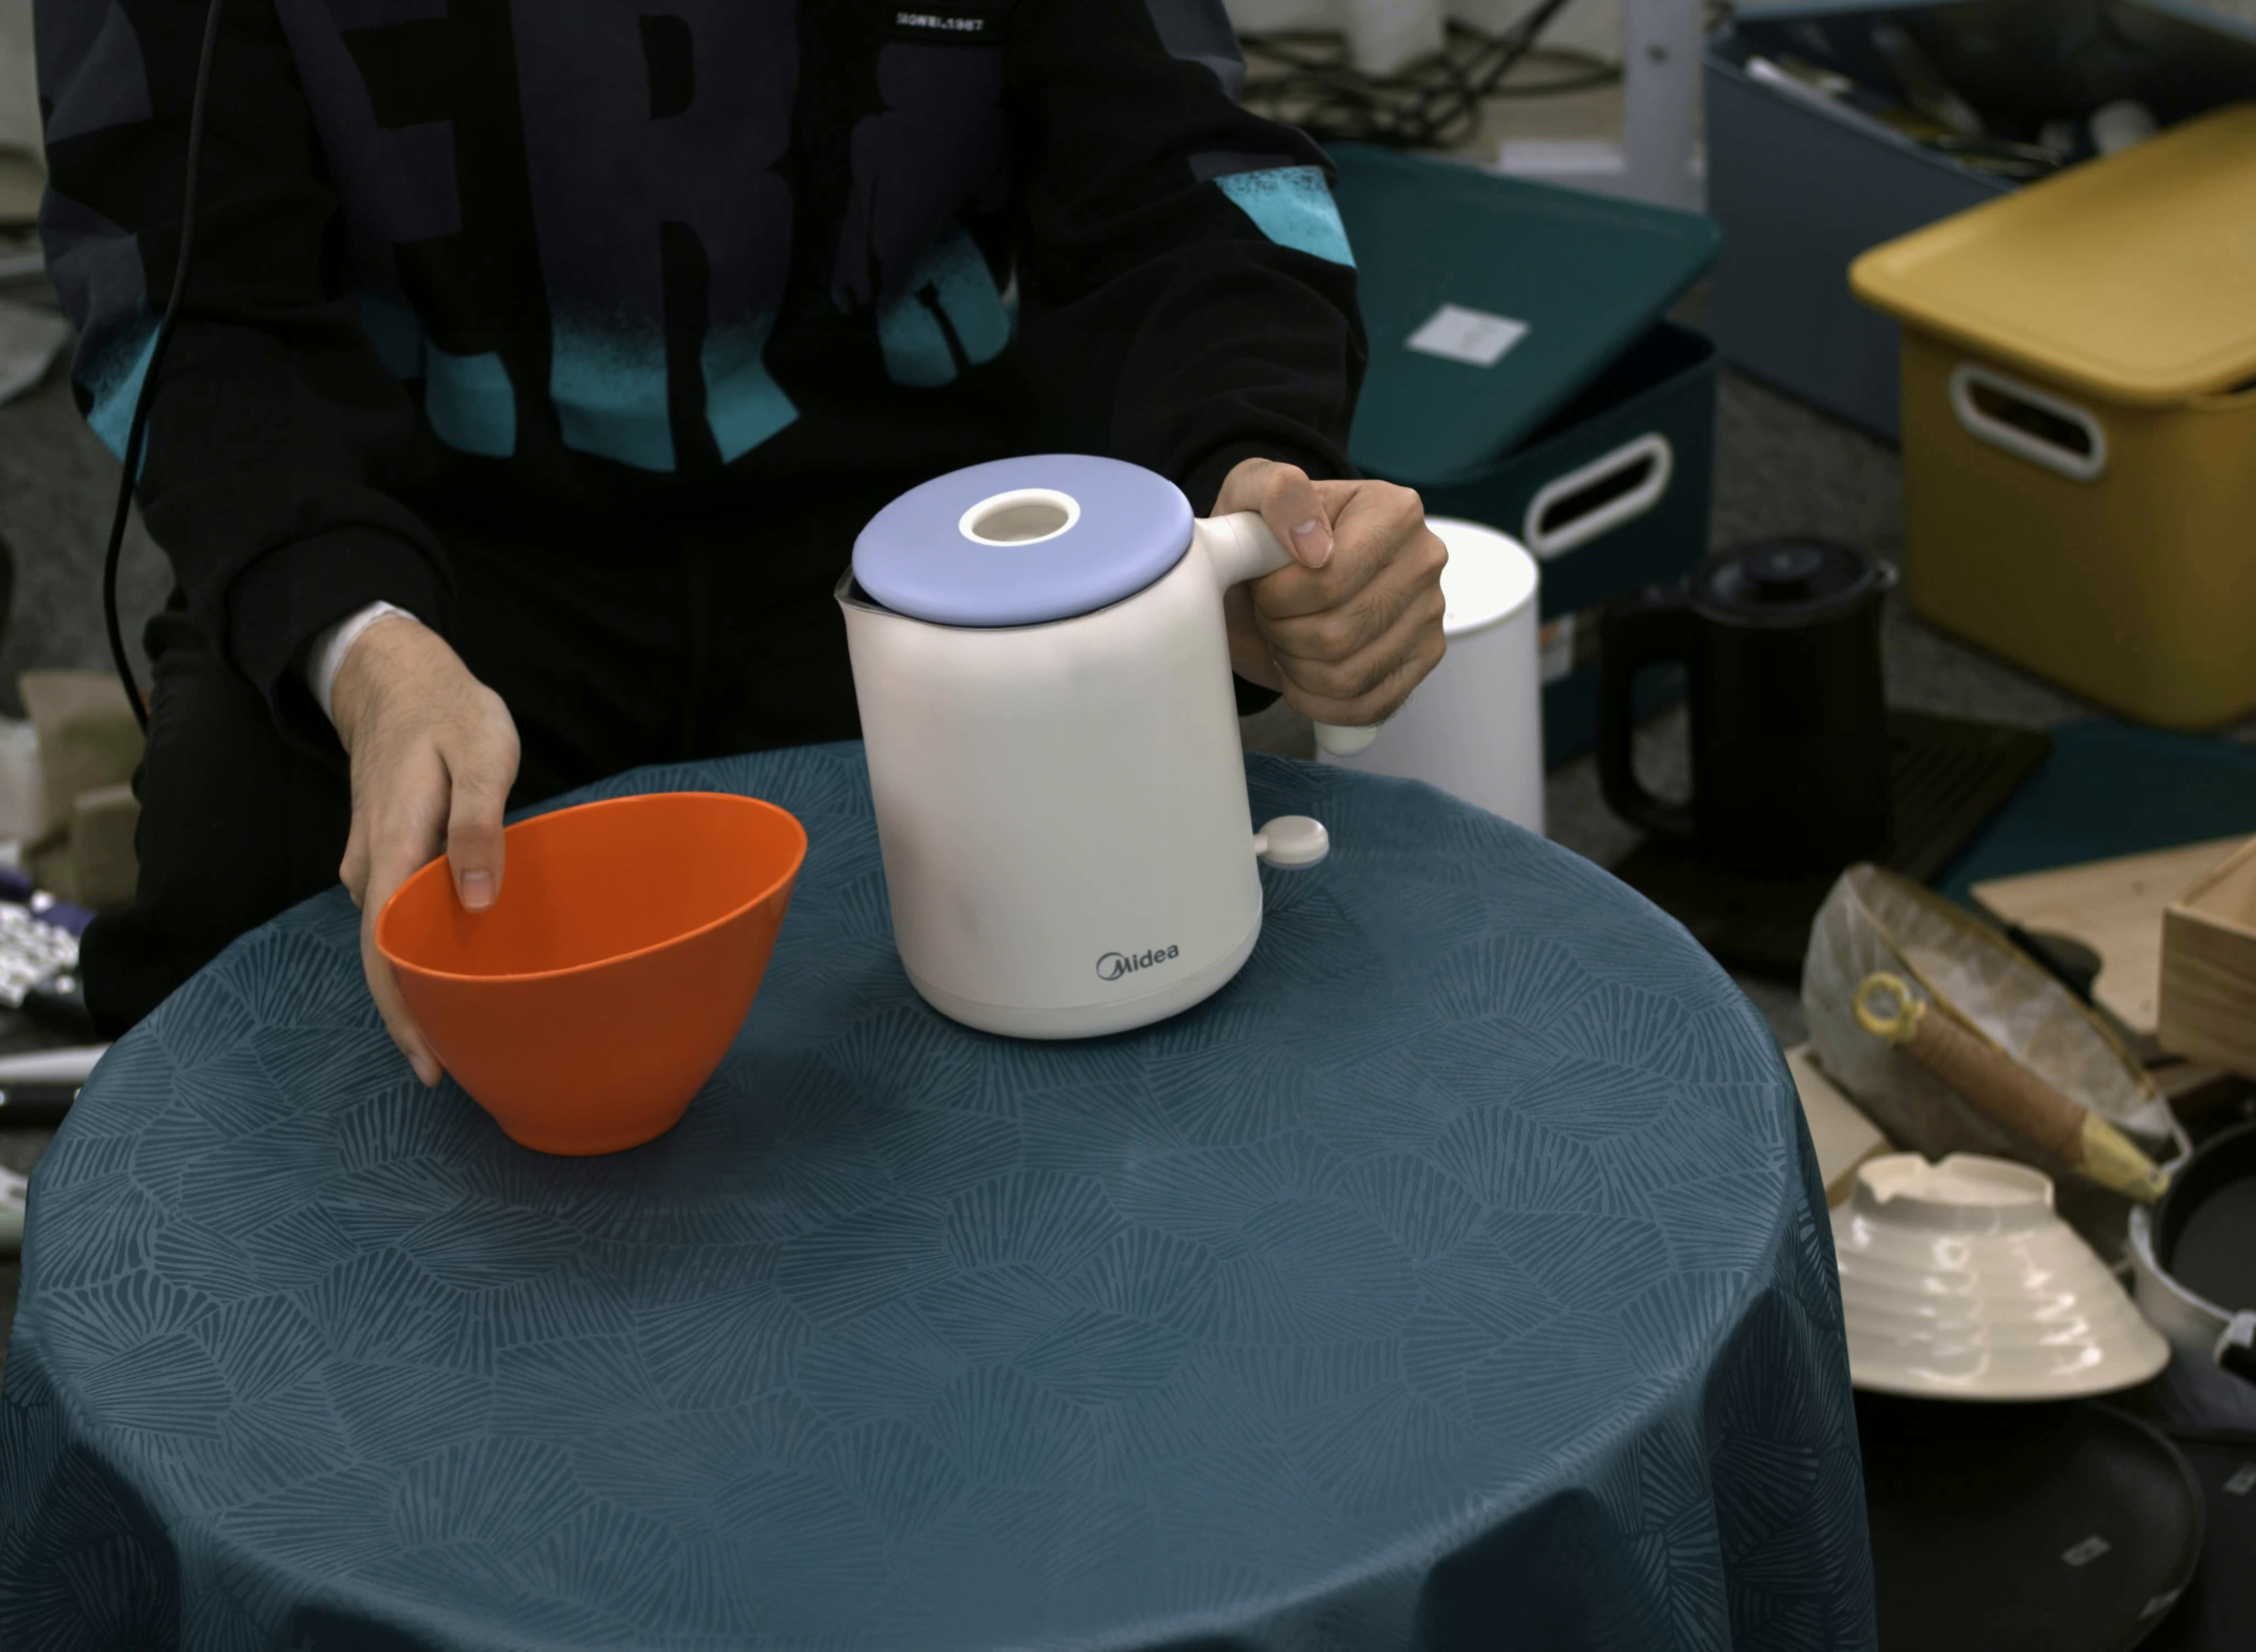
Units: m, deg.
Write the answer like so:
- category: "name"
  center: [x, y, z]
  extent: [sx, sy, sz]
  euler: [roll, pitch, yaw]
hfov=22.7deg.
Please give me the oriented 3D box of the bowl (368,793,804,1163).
- category: "bowl"
  center: [-0.180, 0.056, 1.895]
  extent: [0.147, 0.103, 0.150]
  euler: [-2, 28, 1]

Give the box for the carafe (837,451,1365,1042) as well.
- category: "carafe"
  center: [-0.005, -0.034, 1.967]
  extent: [0.192, 0.180, 0.133]
  euler: [-15, 30, -18]
